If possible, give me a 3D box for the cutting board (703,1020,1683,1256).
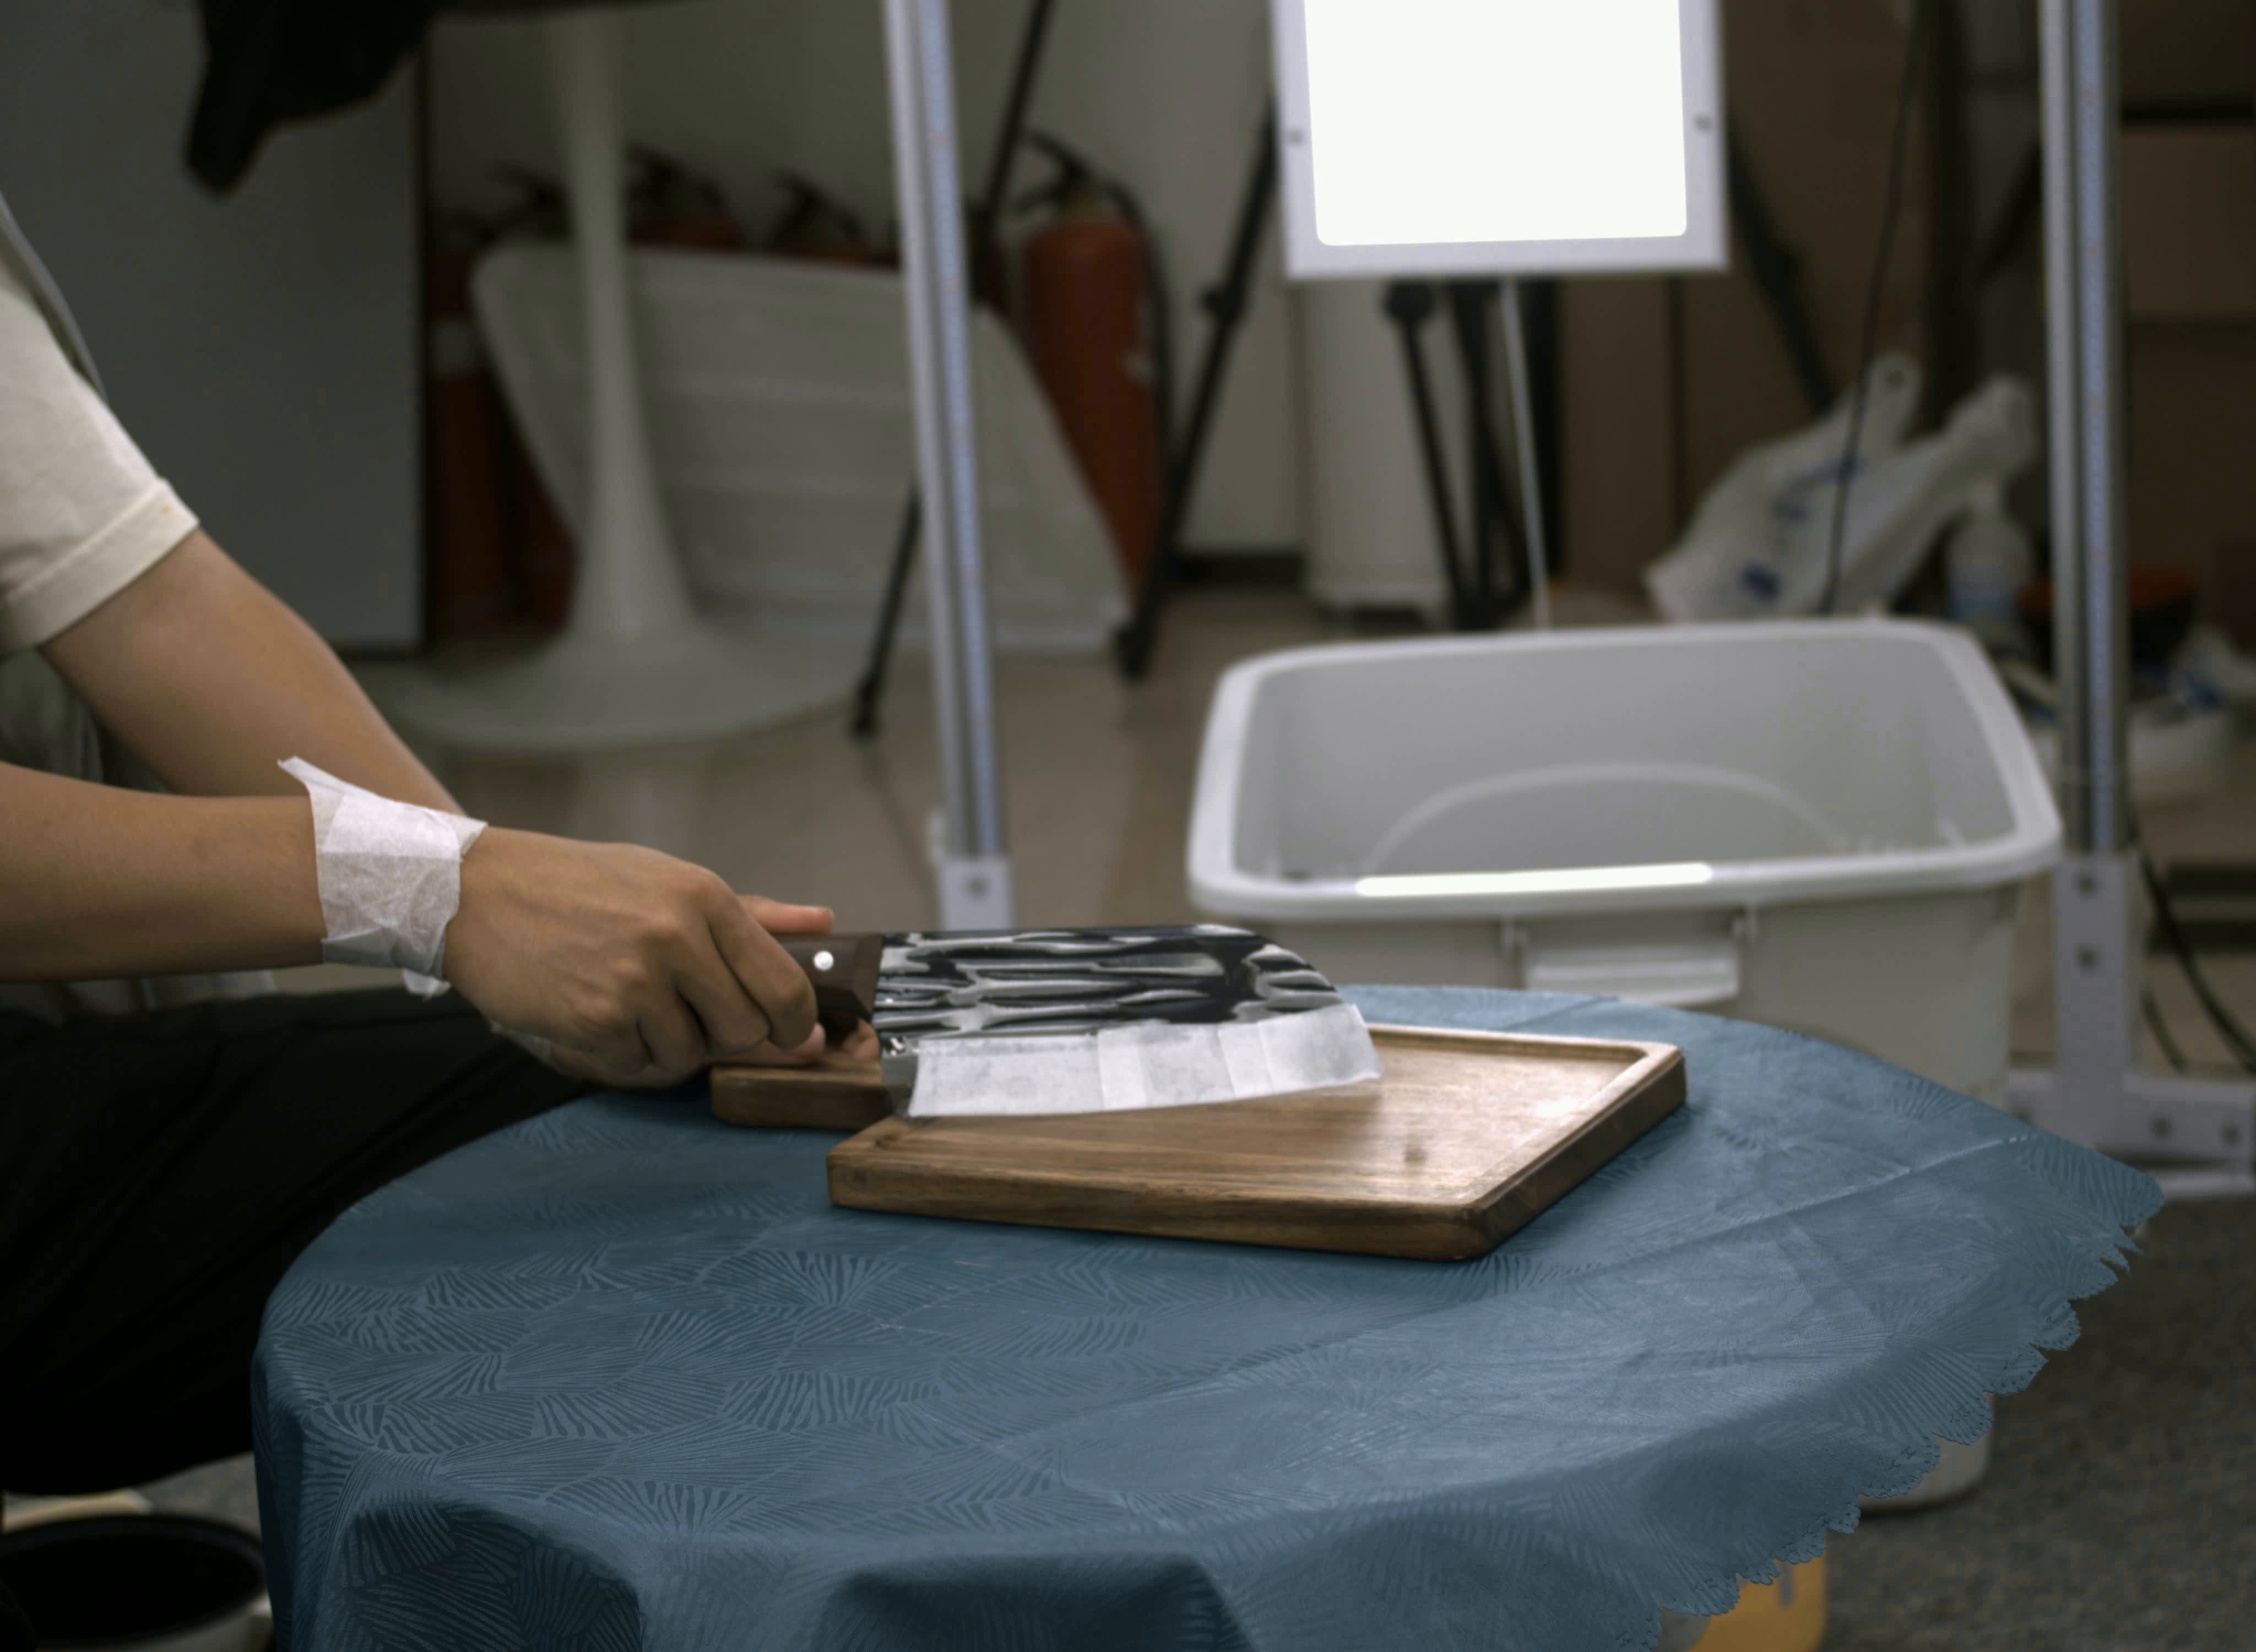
[{"bbox_3d":[0.002,0.102,1.953,0.359,0.023,0.196,2,15,30],"label":"cutting board"}]

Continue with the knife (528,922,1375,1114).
[{"bbox_3d":[-0.062,0.068,1.944,0.298,0.068,0.024,-1,-16,-1],"label":"knife"}]
